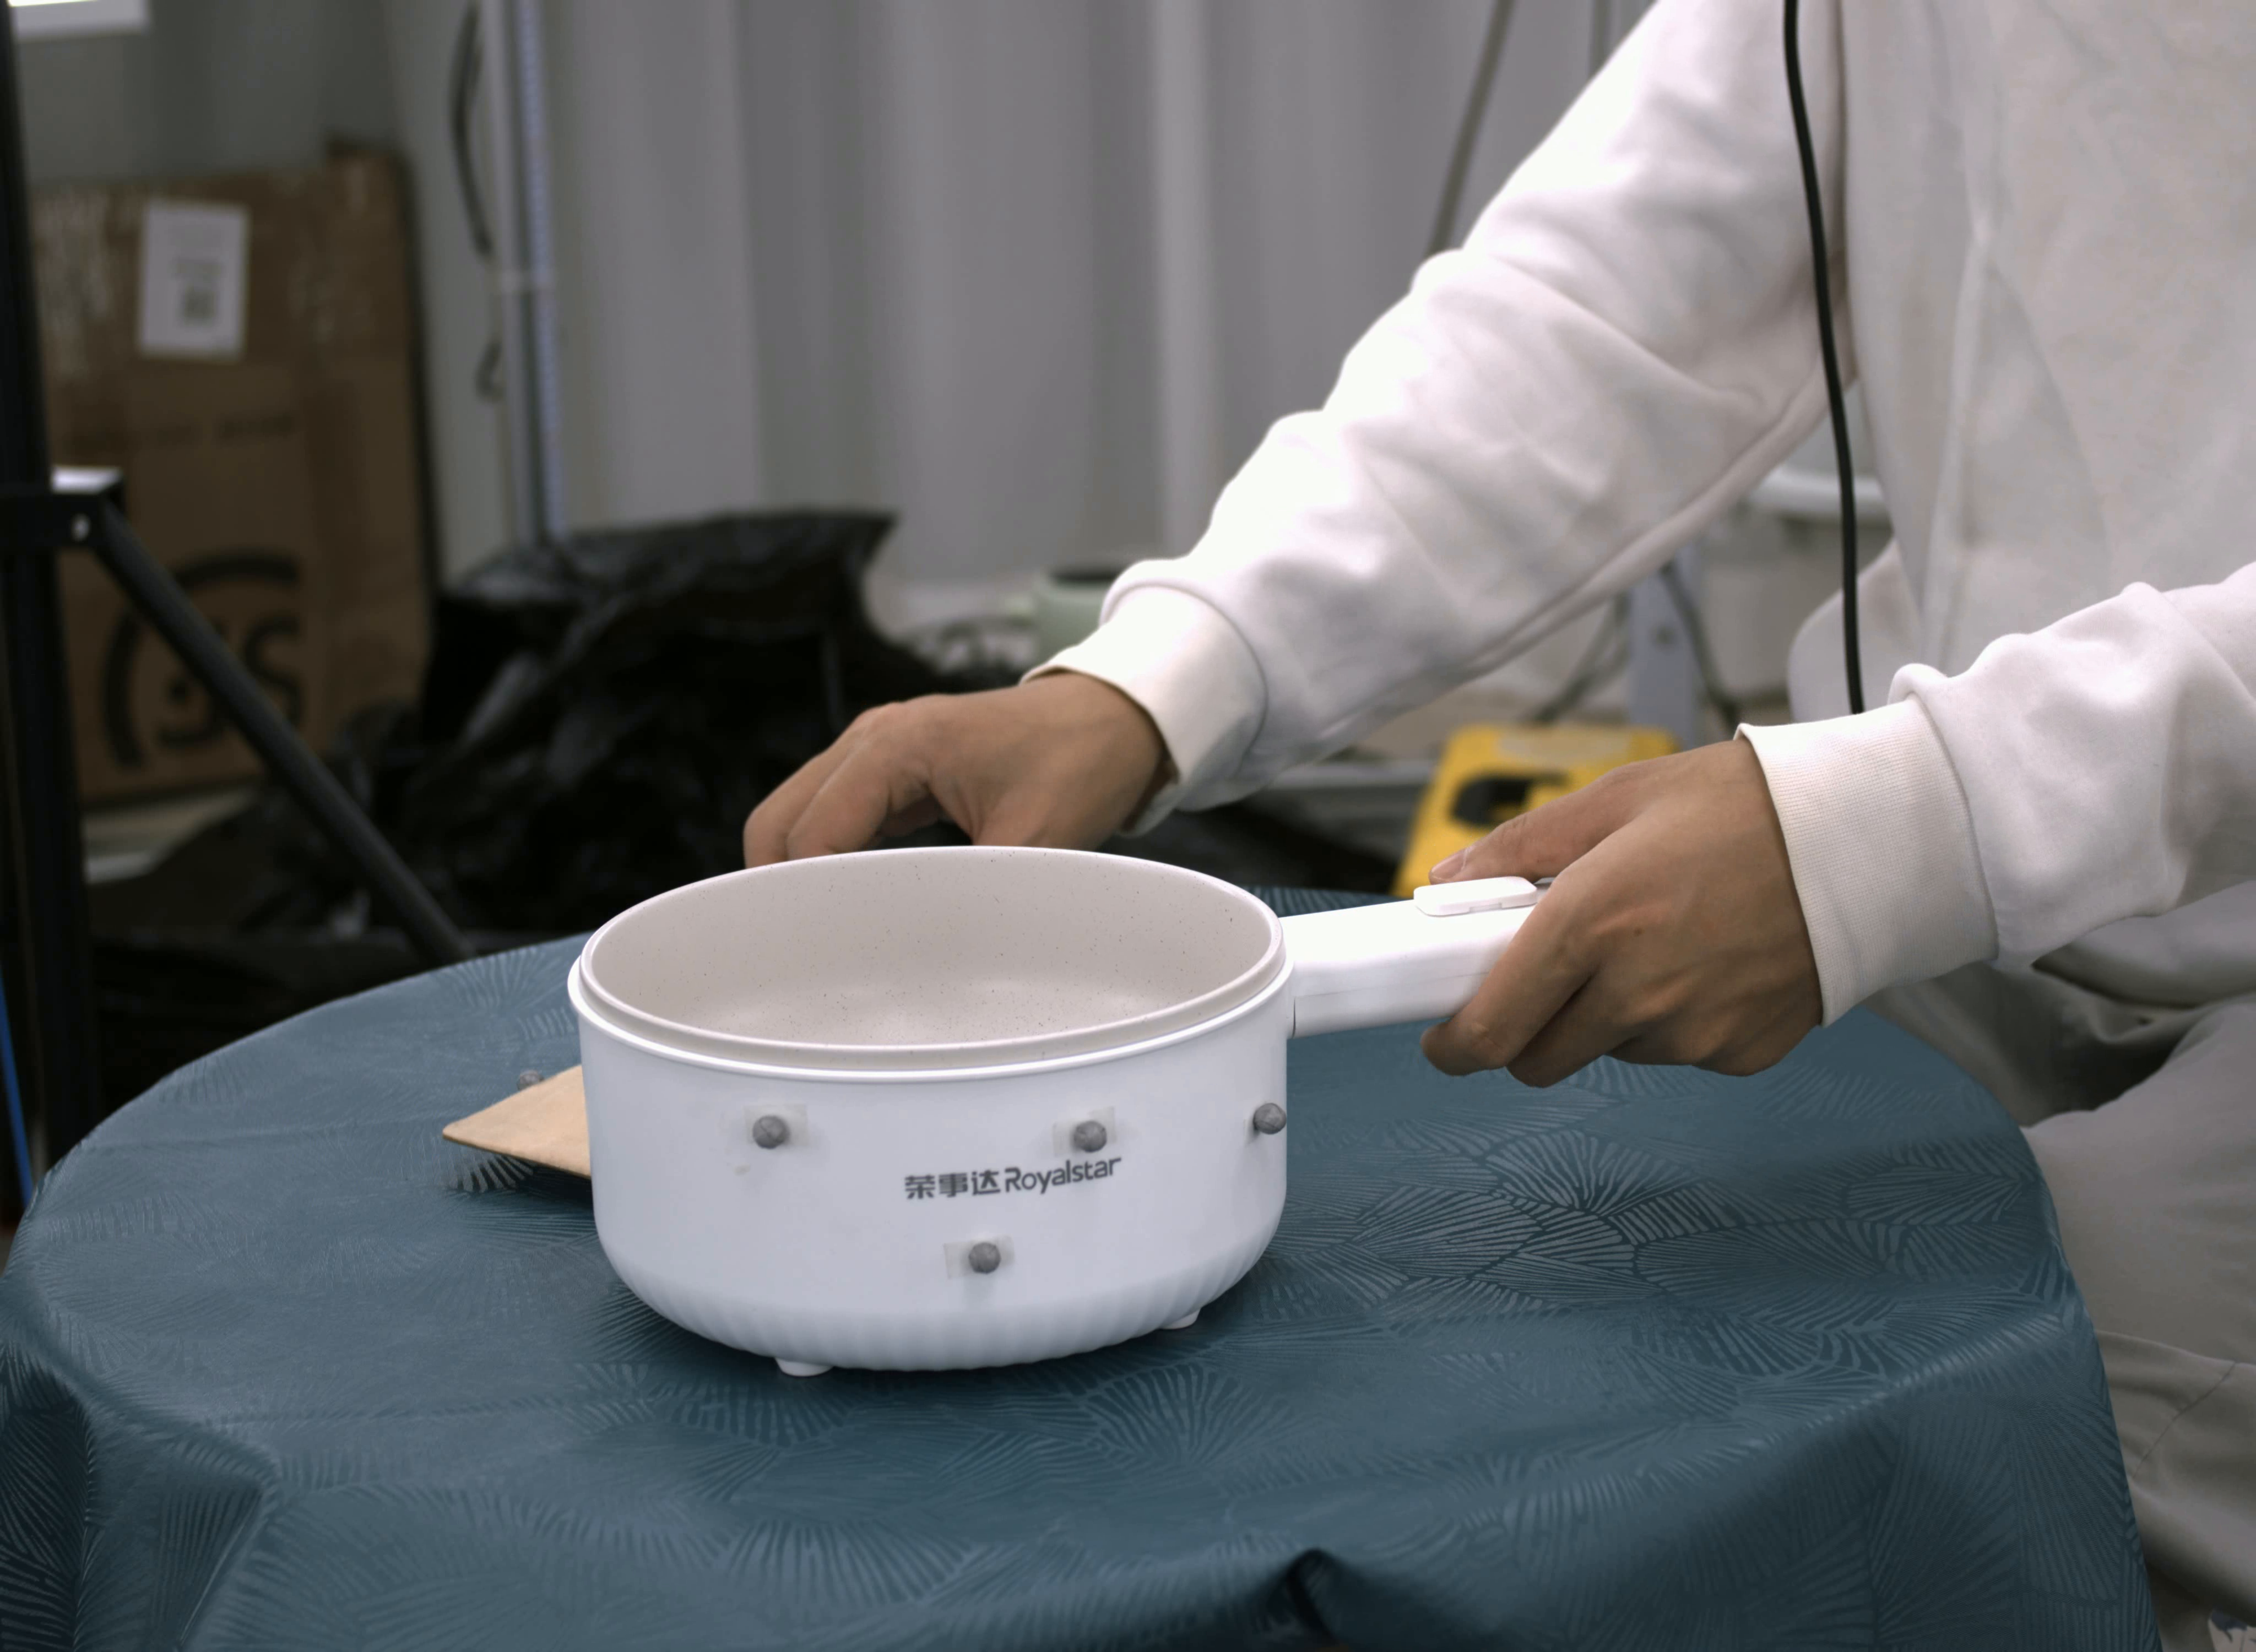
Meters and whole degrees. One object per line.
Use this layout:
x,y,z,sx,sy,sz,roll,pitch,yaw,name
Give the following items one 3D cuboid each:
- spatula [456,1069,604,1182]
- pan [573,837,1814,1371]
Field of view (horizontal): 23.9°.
-0.109,0.068,1.700,0.073,0.010,0.288,10,19,25,spatula
0.021,0.072,1.497,0.349,0.102,0.204,-6,16,-13,pan
